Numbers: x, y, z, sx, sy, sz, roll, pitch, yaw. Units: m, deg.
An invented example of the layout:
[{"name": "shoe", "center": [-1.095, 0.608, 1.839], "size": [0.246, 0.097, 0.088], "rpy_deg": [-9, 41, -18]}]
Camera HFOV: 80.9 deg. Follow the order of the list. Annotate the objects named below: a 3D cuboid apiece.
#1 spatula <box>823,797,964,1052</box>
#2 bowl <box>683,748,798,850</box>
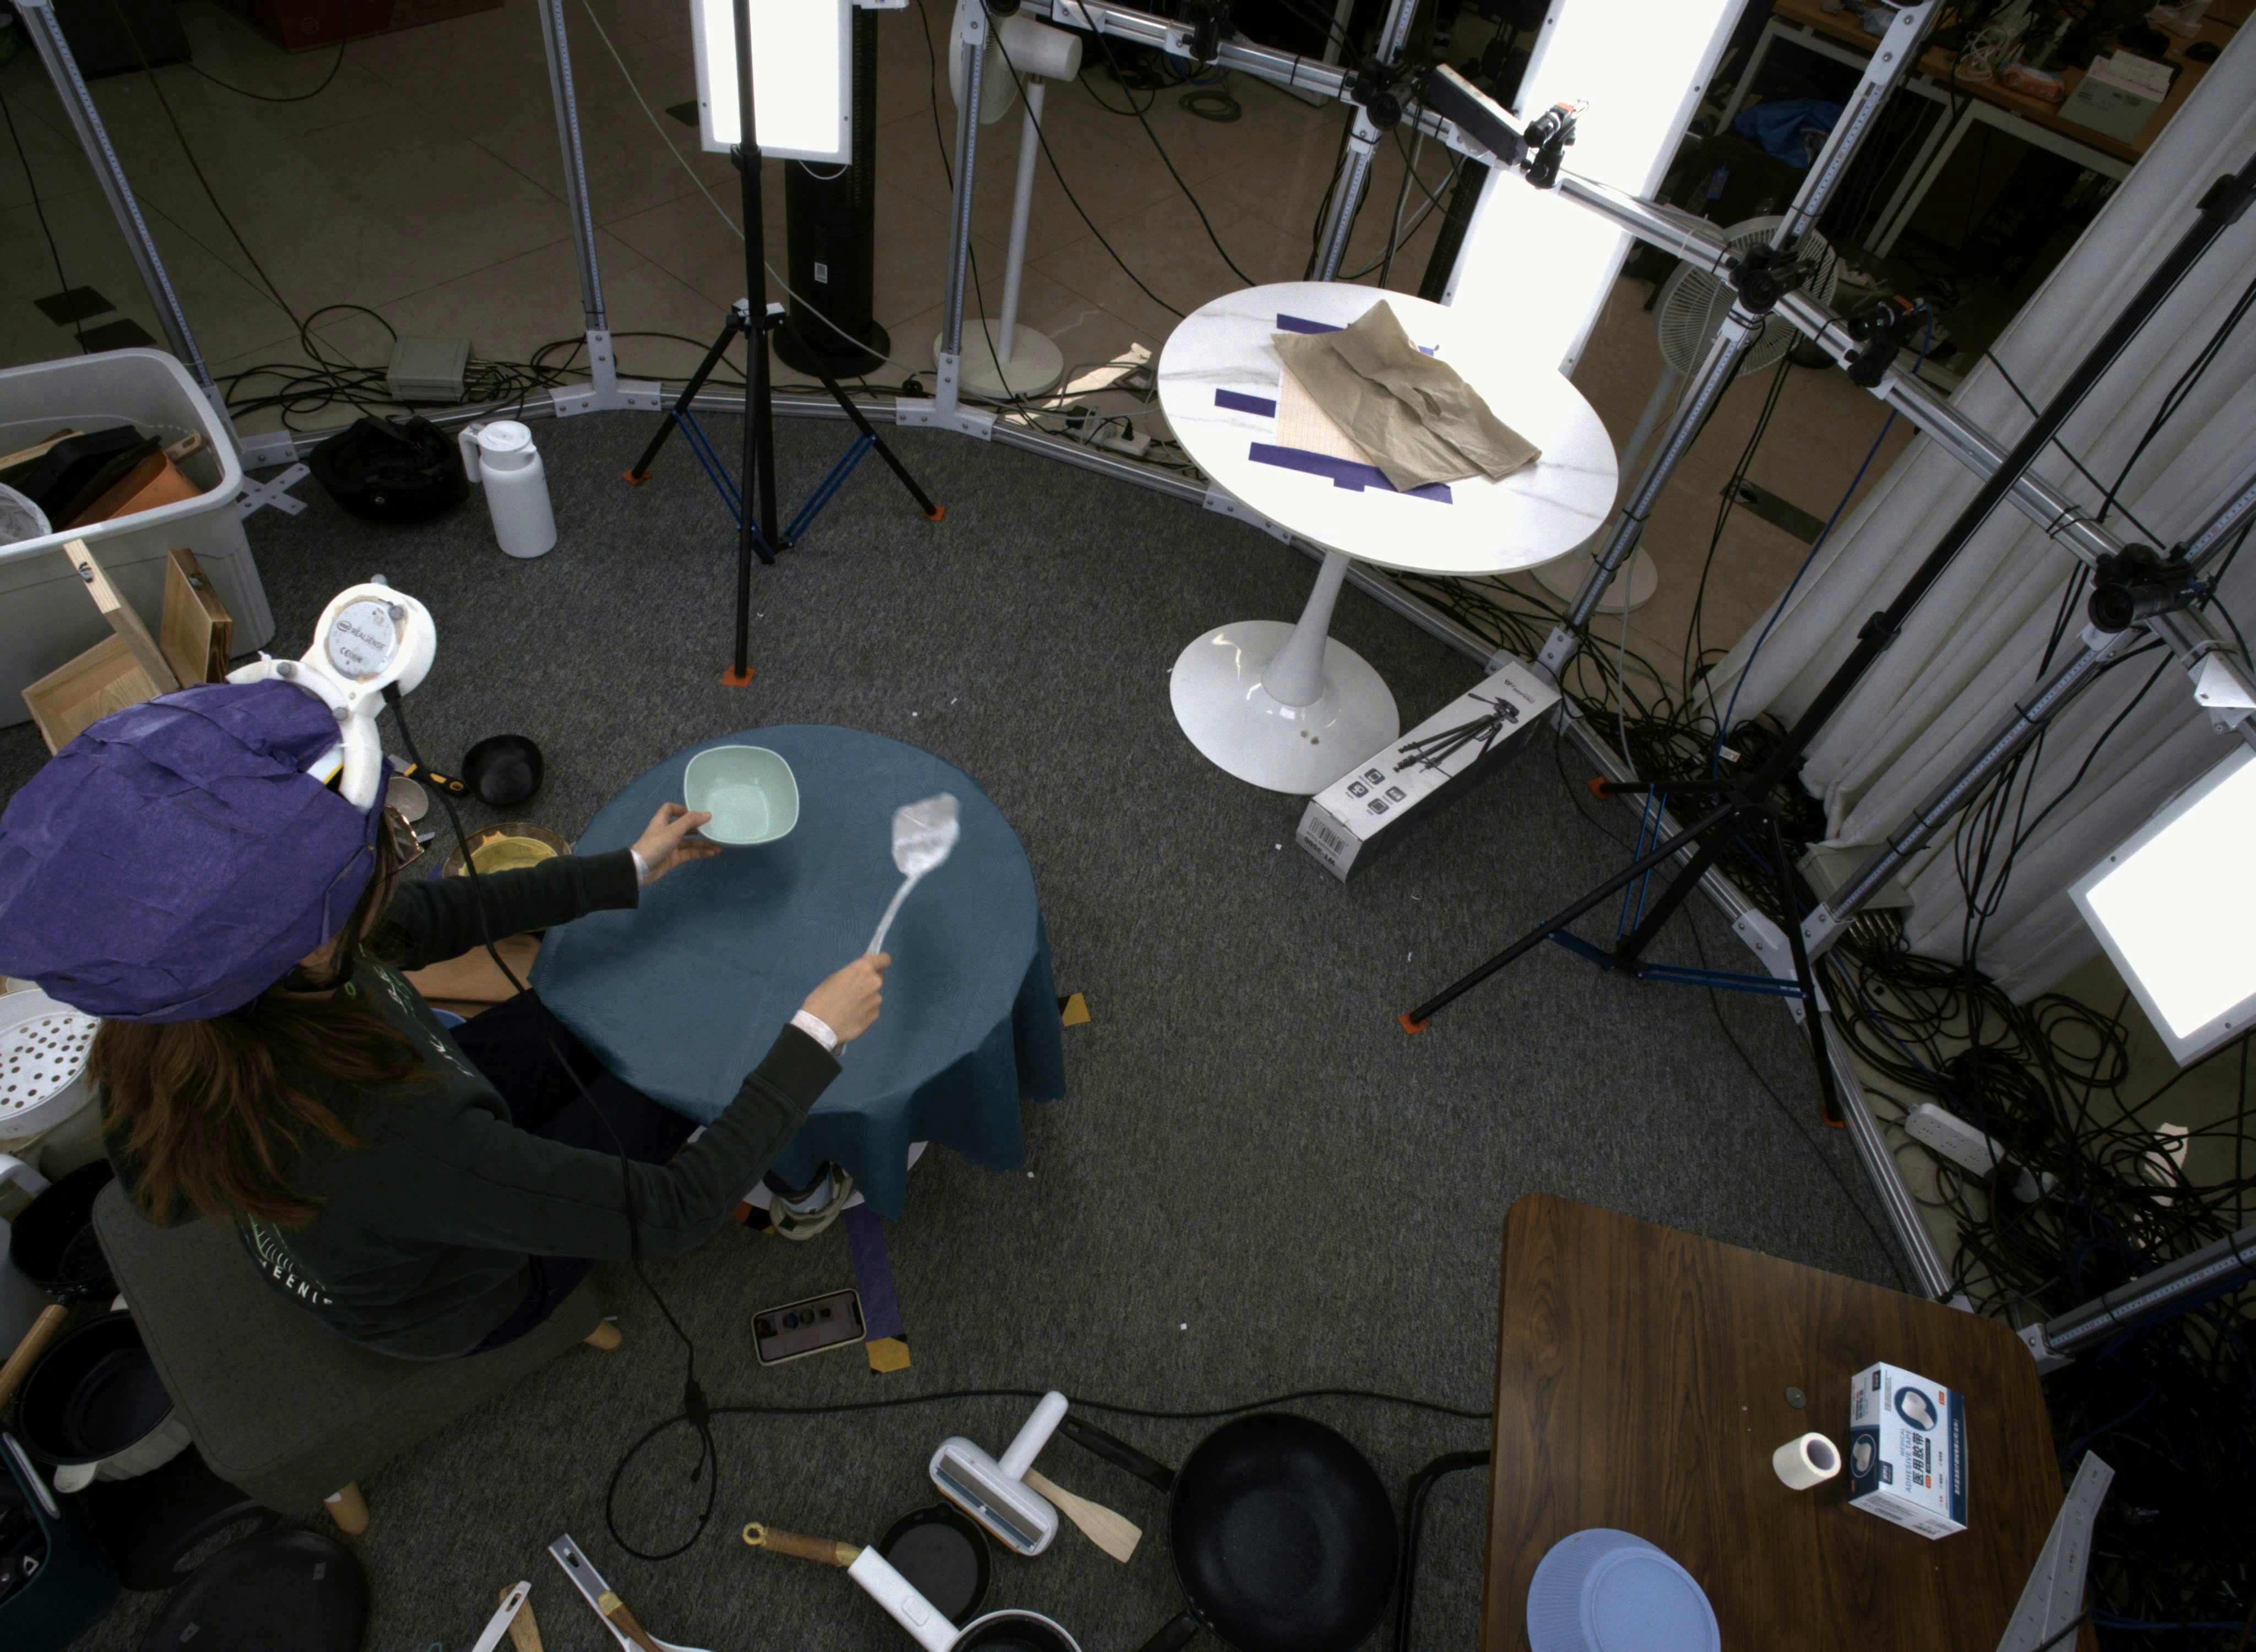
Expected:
[{"name": "spatula", "center": [-0.277, 0.101, 1.490], "size": [0.096, 0.046, 0.360], "rpy_deg": [-7, 39, 25]}, {"name": "bowl", "center": [-0.490, -0.024, 1.623], "size": [0.153, 0.059, 0.149], "rpy_deg": [14, 56, -19]}]
